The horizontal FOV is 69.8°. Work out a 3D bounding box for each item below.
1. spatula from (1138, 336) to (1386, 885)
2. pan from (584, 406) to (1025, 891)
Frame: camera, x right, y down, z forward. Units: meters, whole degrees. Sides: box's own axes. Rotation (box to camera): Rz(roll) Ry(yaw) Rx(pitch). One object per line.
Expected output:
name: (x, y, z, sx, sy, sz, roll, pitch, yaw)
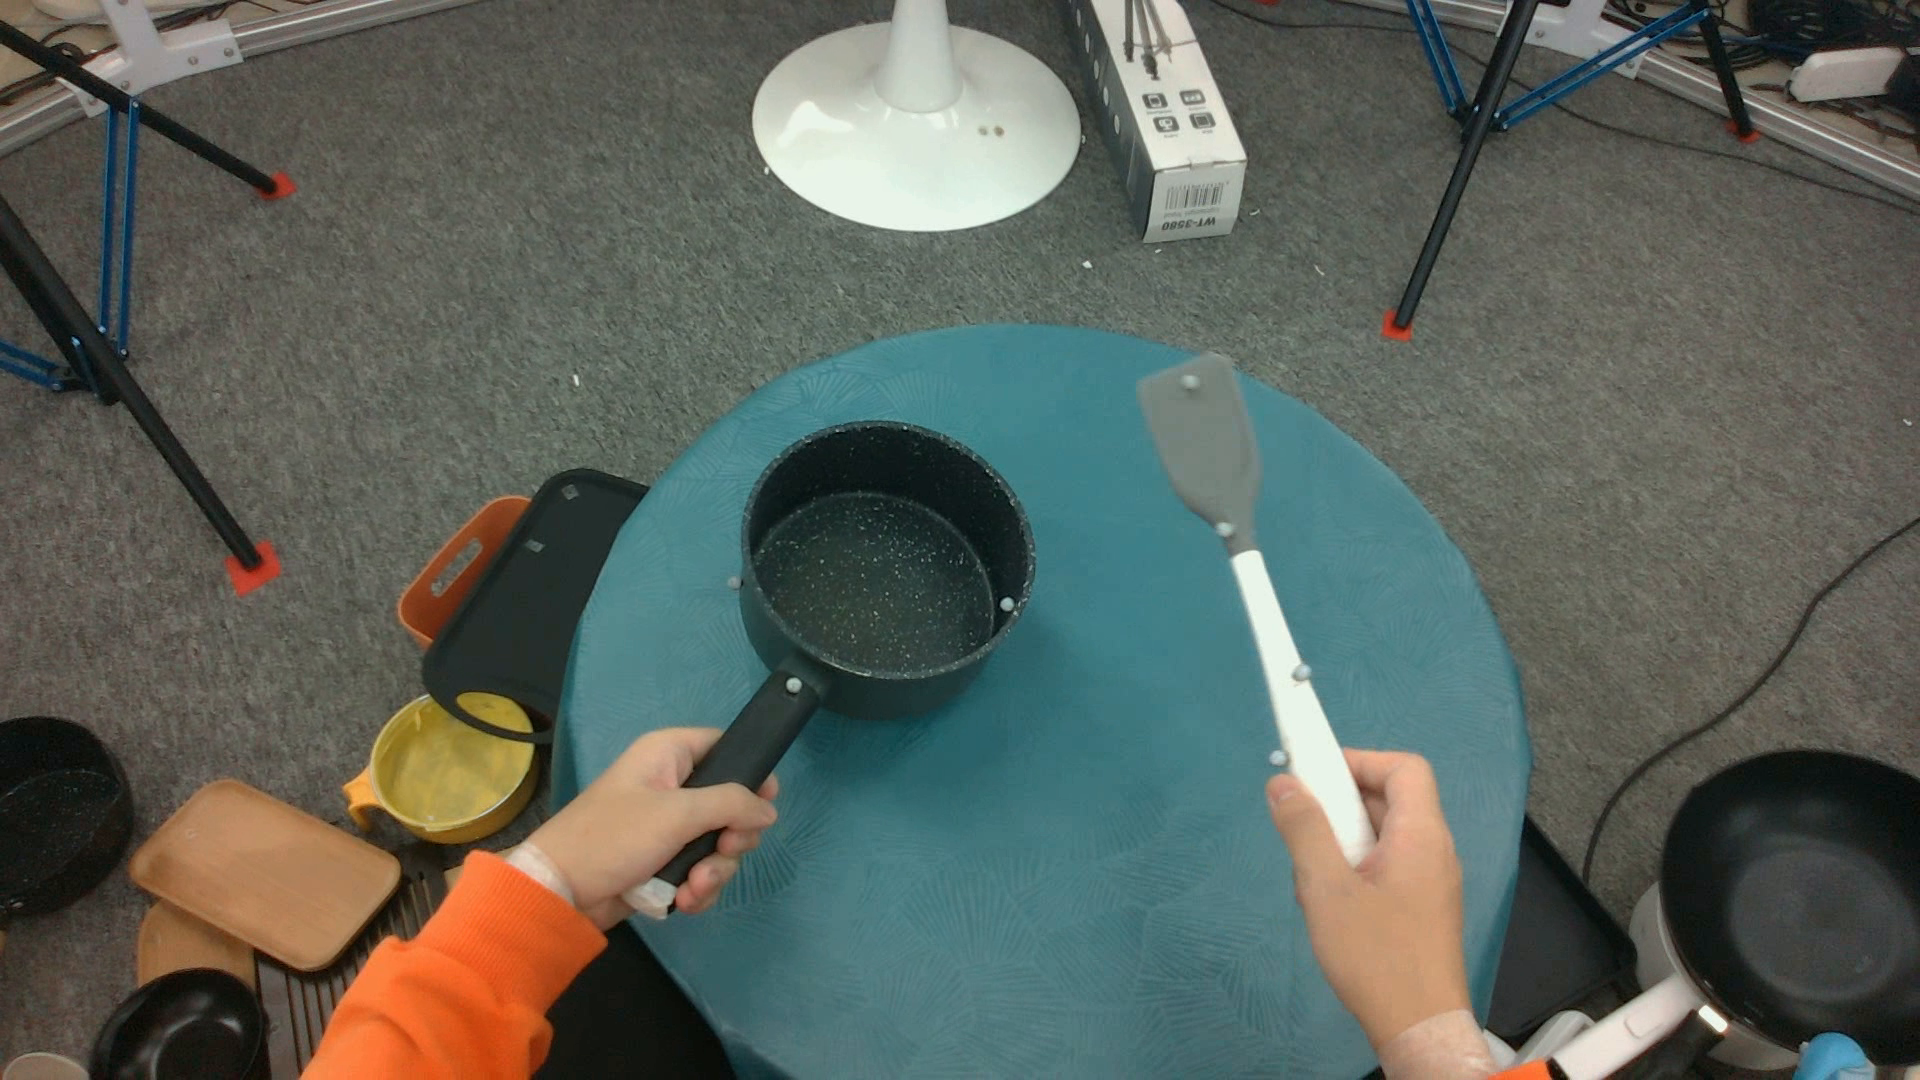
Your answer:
spatula: (0.152, 0.027, 0.693, 0.058, 0.032, 0.288, -20, 65, 15)
pan: (-0.091, 0.065, 0.769, 0.172, 0.086, 0.330, 32, 56, 6)
